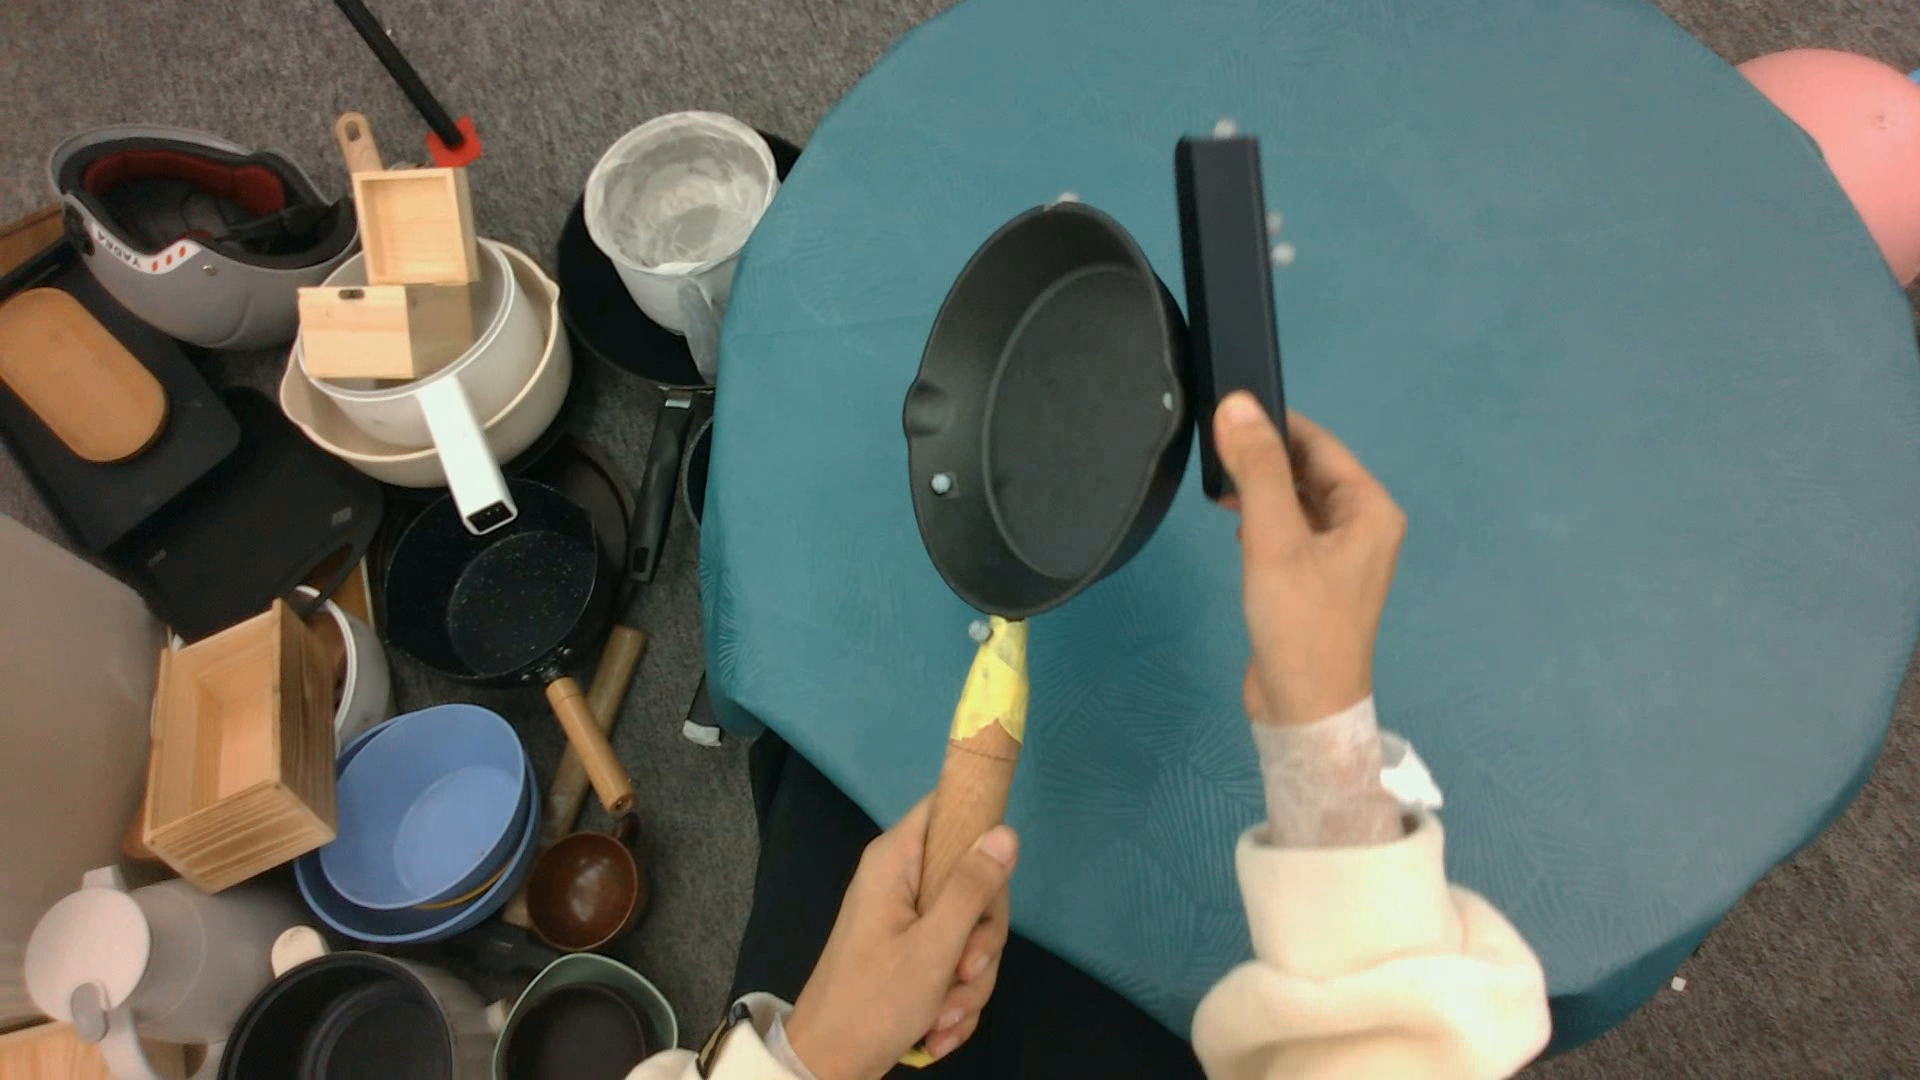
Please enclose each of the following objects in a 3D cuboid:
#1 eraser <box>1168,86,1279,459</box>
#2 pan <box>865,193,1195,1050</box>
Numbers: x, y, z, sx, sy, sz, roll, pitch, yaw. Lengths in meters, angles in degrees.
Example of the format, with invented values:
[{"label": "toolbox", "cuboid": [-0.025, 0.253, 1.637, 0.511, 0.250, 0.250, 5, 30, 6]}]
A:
[{"label": "eraser", "cuboid": [0.094, -0.094, 0.493, 0.030, 0.053, 0.125, -4, 82, 8]}, {"label": "pan", "cuboid": [0.013, 0.032, 0.524, 0.049, 0.168, 0.324, 9, 92, -37]}]
